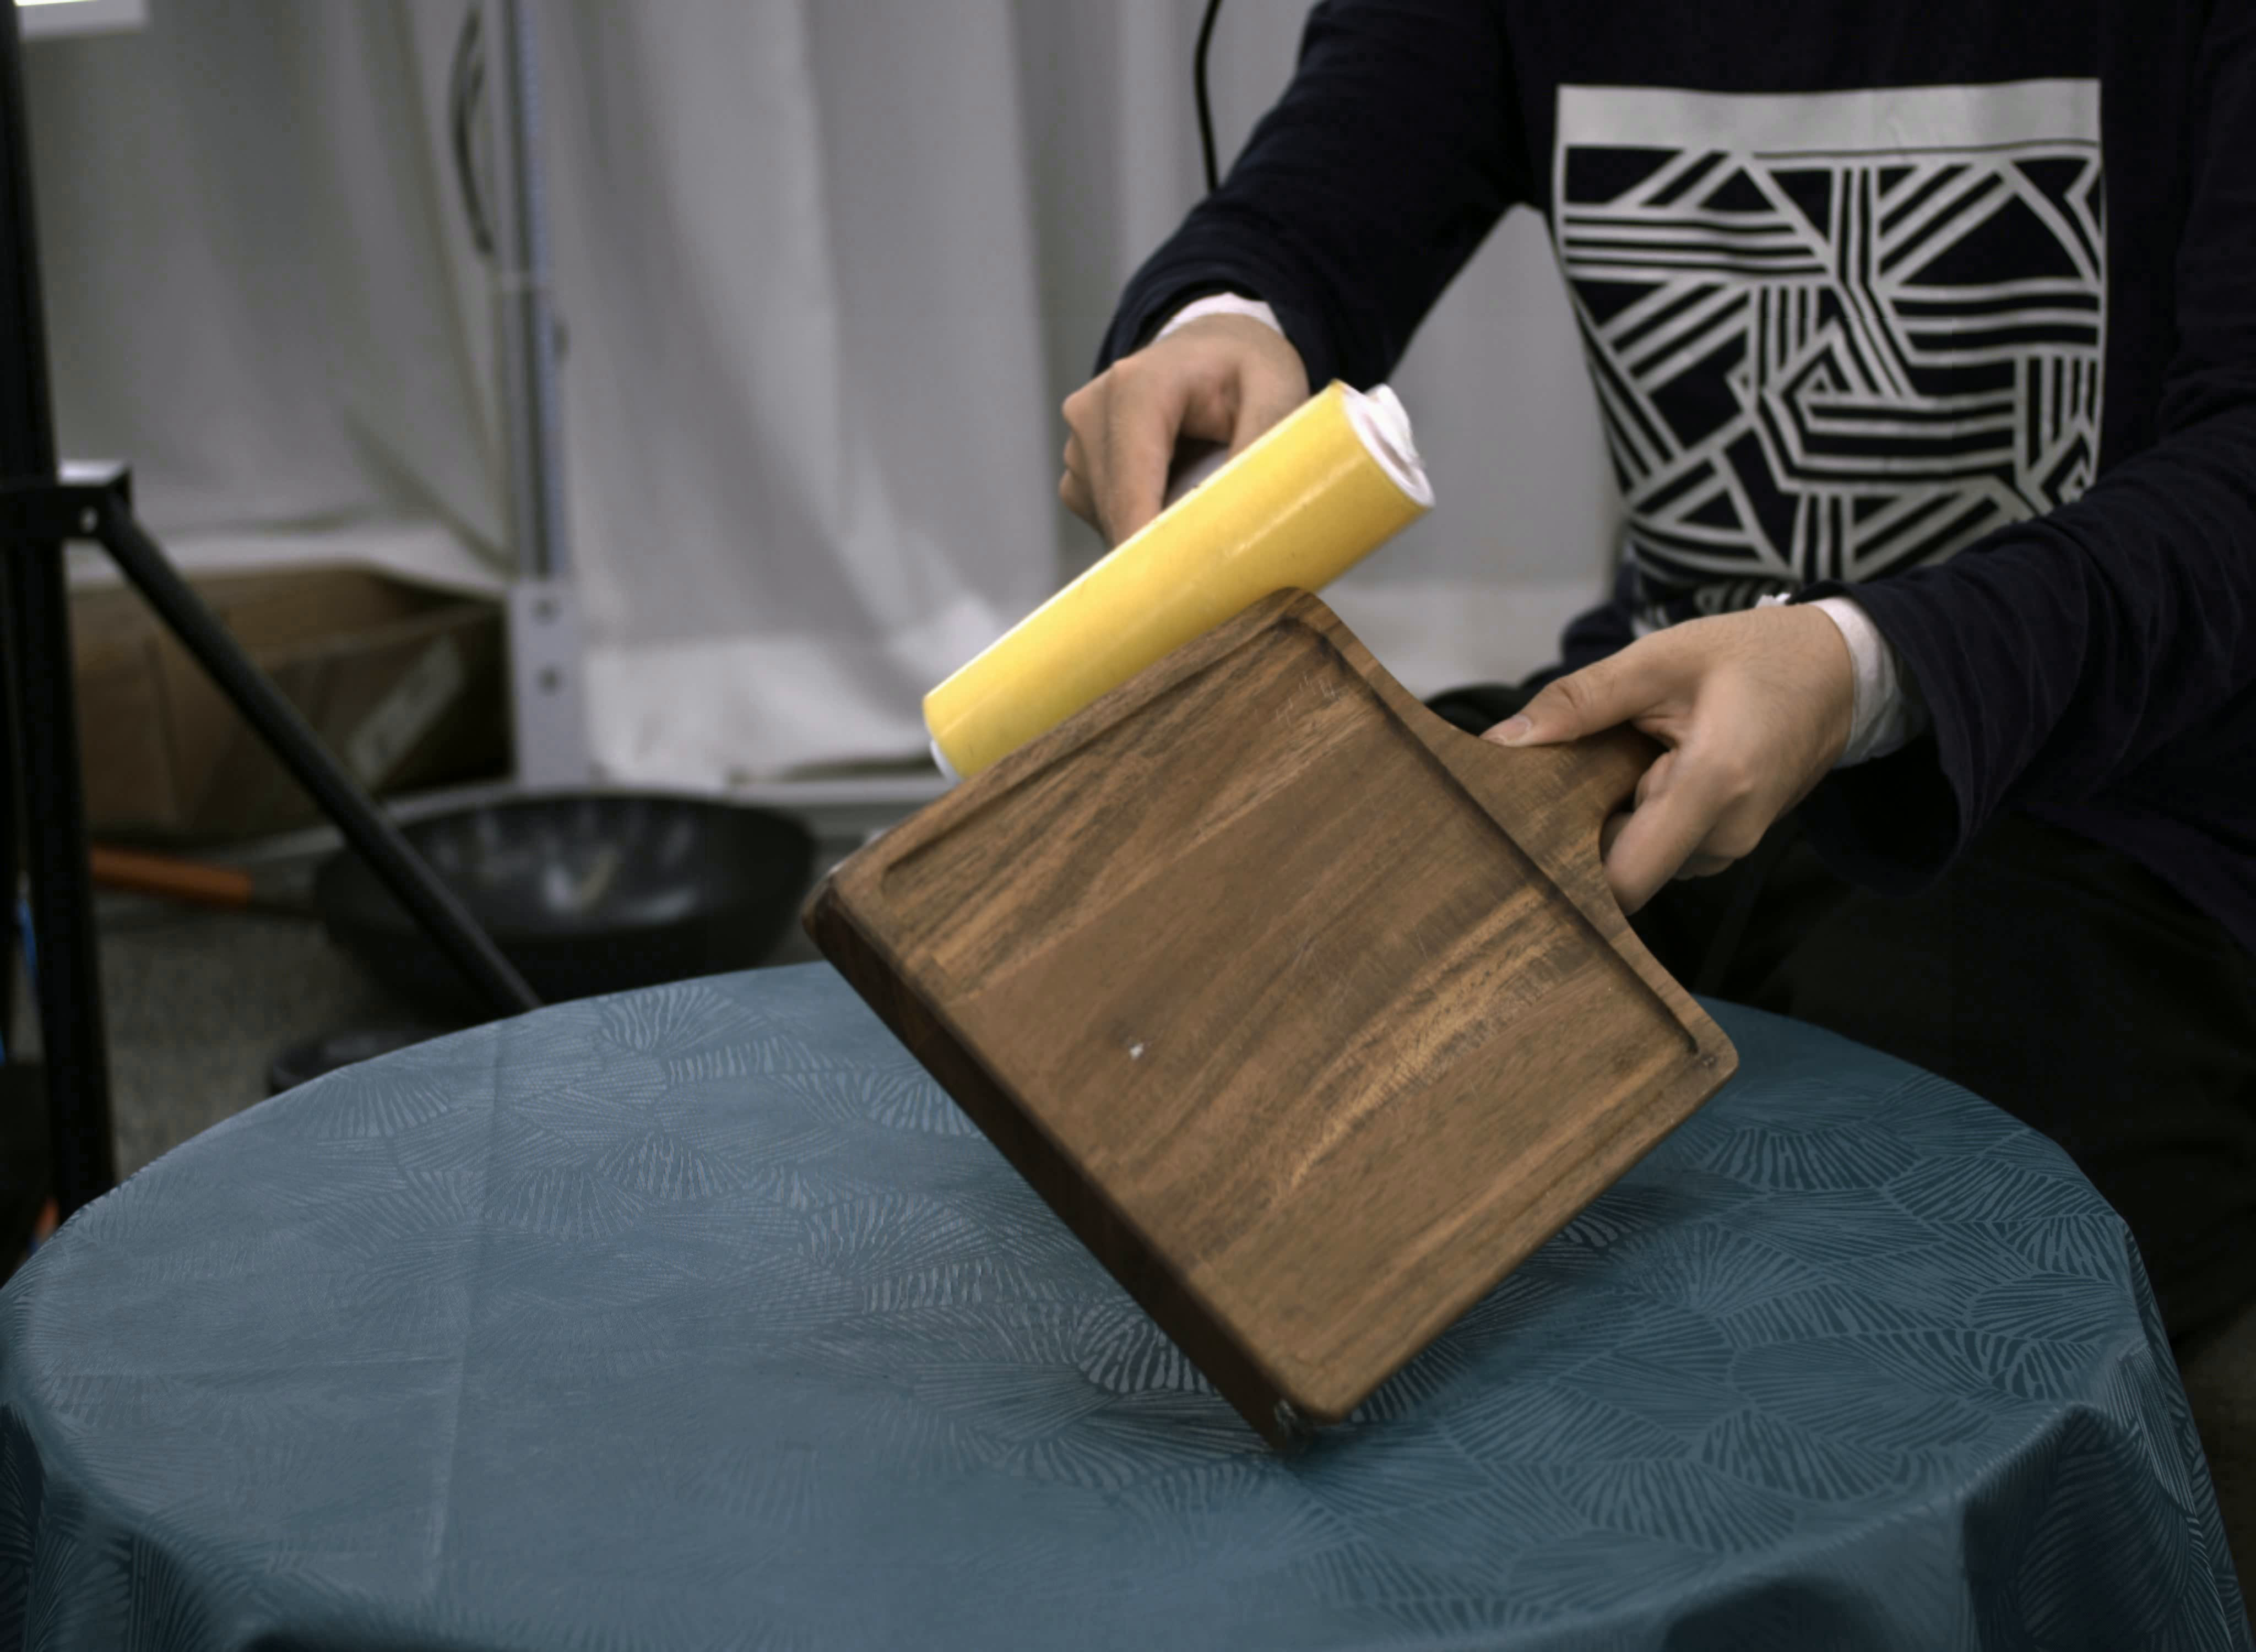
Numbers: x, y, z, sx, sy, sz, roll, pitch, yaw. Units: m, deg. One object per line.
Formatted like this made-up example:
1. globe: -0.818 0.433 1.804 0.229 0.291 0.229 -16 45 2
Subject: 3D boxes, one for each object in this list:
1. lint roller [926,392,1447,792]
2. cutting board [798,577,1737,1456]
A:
1. lint roller: 0.014 -0.096 1.657 0.175 0.050 0.194 -36 23 15
2. cutting board: 0.071 0.028 1.496 0.202 0.023 0.346 47 39 9
